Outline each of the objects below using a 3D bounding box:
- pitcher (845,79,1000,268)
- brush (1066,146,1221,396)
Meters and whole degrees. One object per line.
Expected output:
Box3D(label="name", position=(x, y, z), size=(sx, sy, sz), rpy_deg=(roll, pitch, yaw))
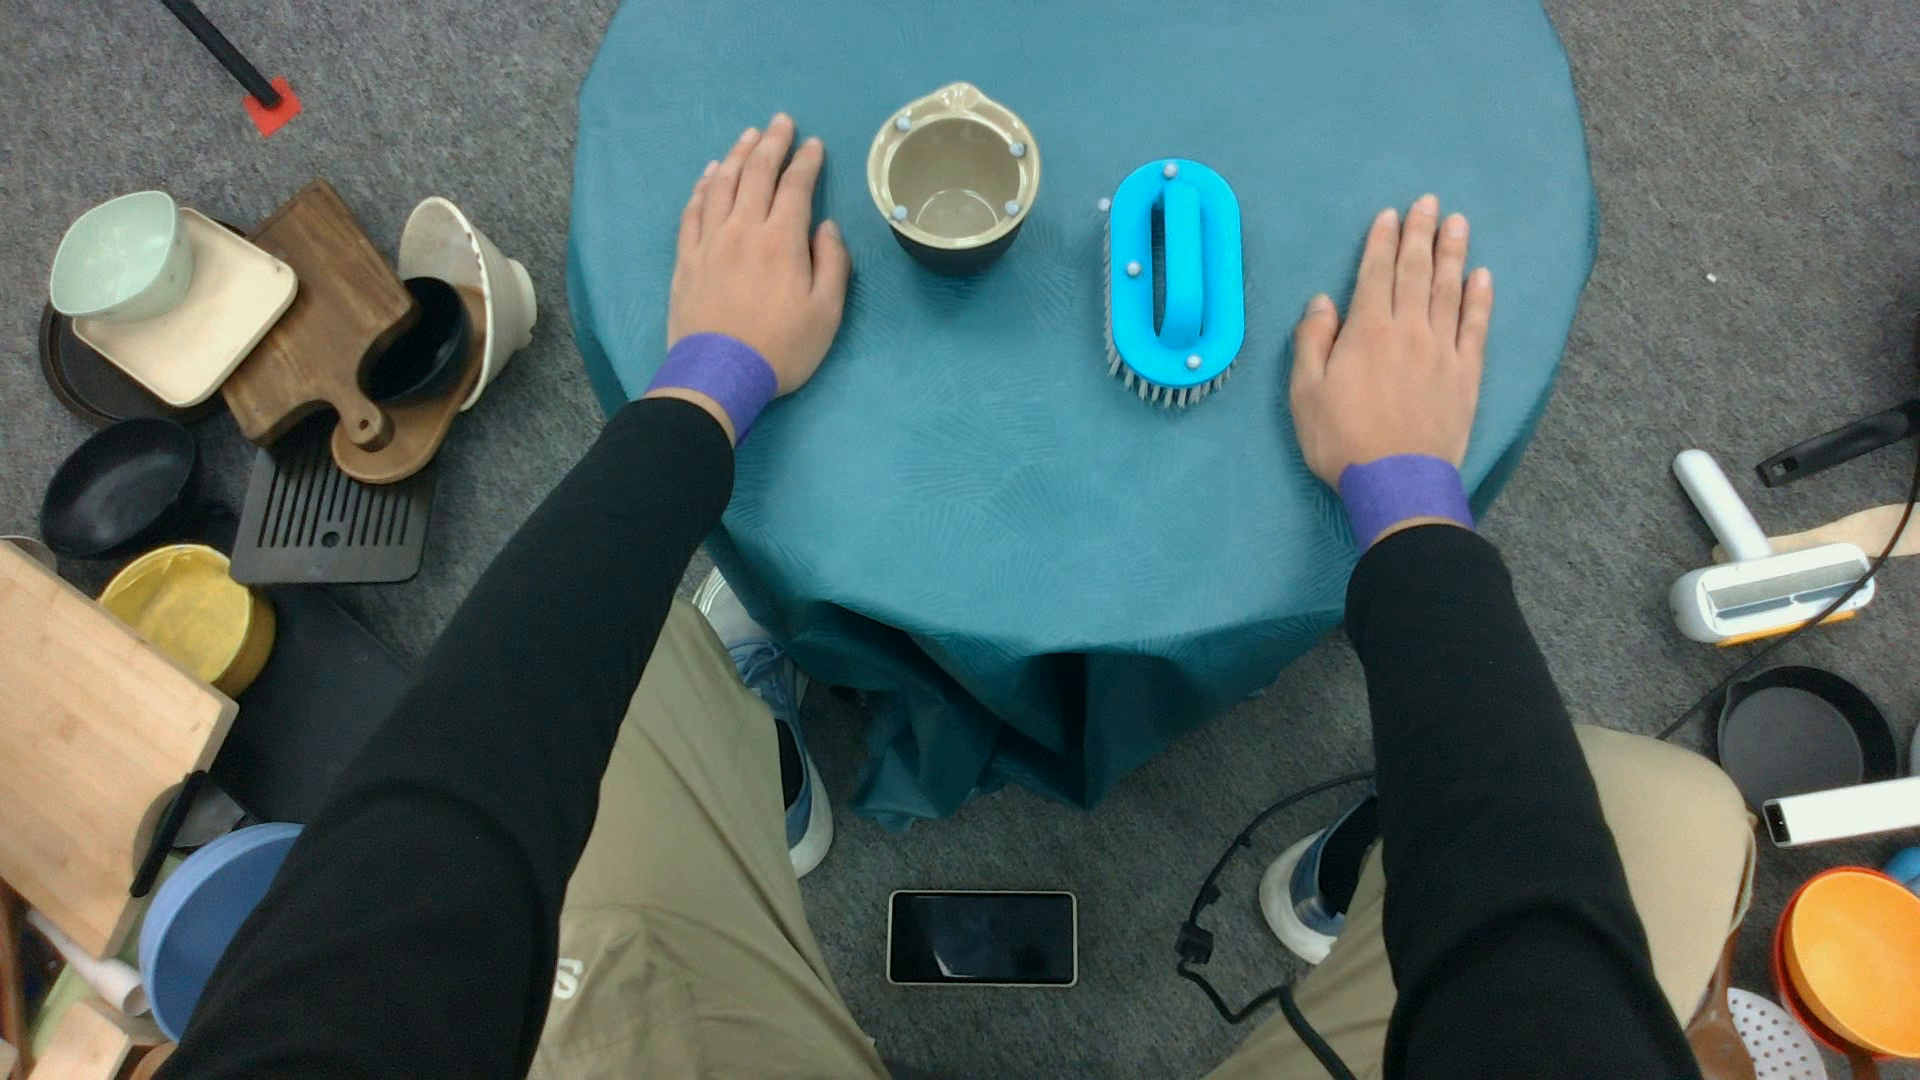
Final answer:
Box3D(label="pitcher", position=(-0.019, -0.196, 0.768), size=(0.083, 0.071, 0.096), rpy_deg=(9, 72, 4))
Box3D(label="brush", position=(0.104, -0.155, 0.760), size=(0.084, 0.063, 0.142), rpy_deg=(3, 74, -4))
